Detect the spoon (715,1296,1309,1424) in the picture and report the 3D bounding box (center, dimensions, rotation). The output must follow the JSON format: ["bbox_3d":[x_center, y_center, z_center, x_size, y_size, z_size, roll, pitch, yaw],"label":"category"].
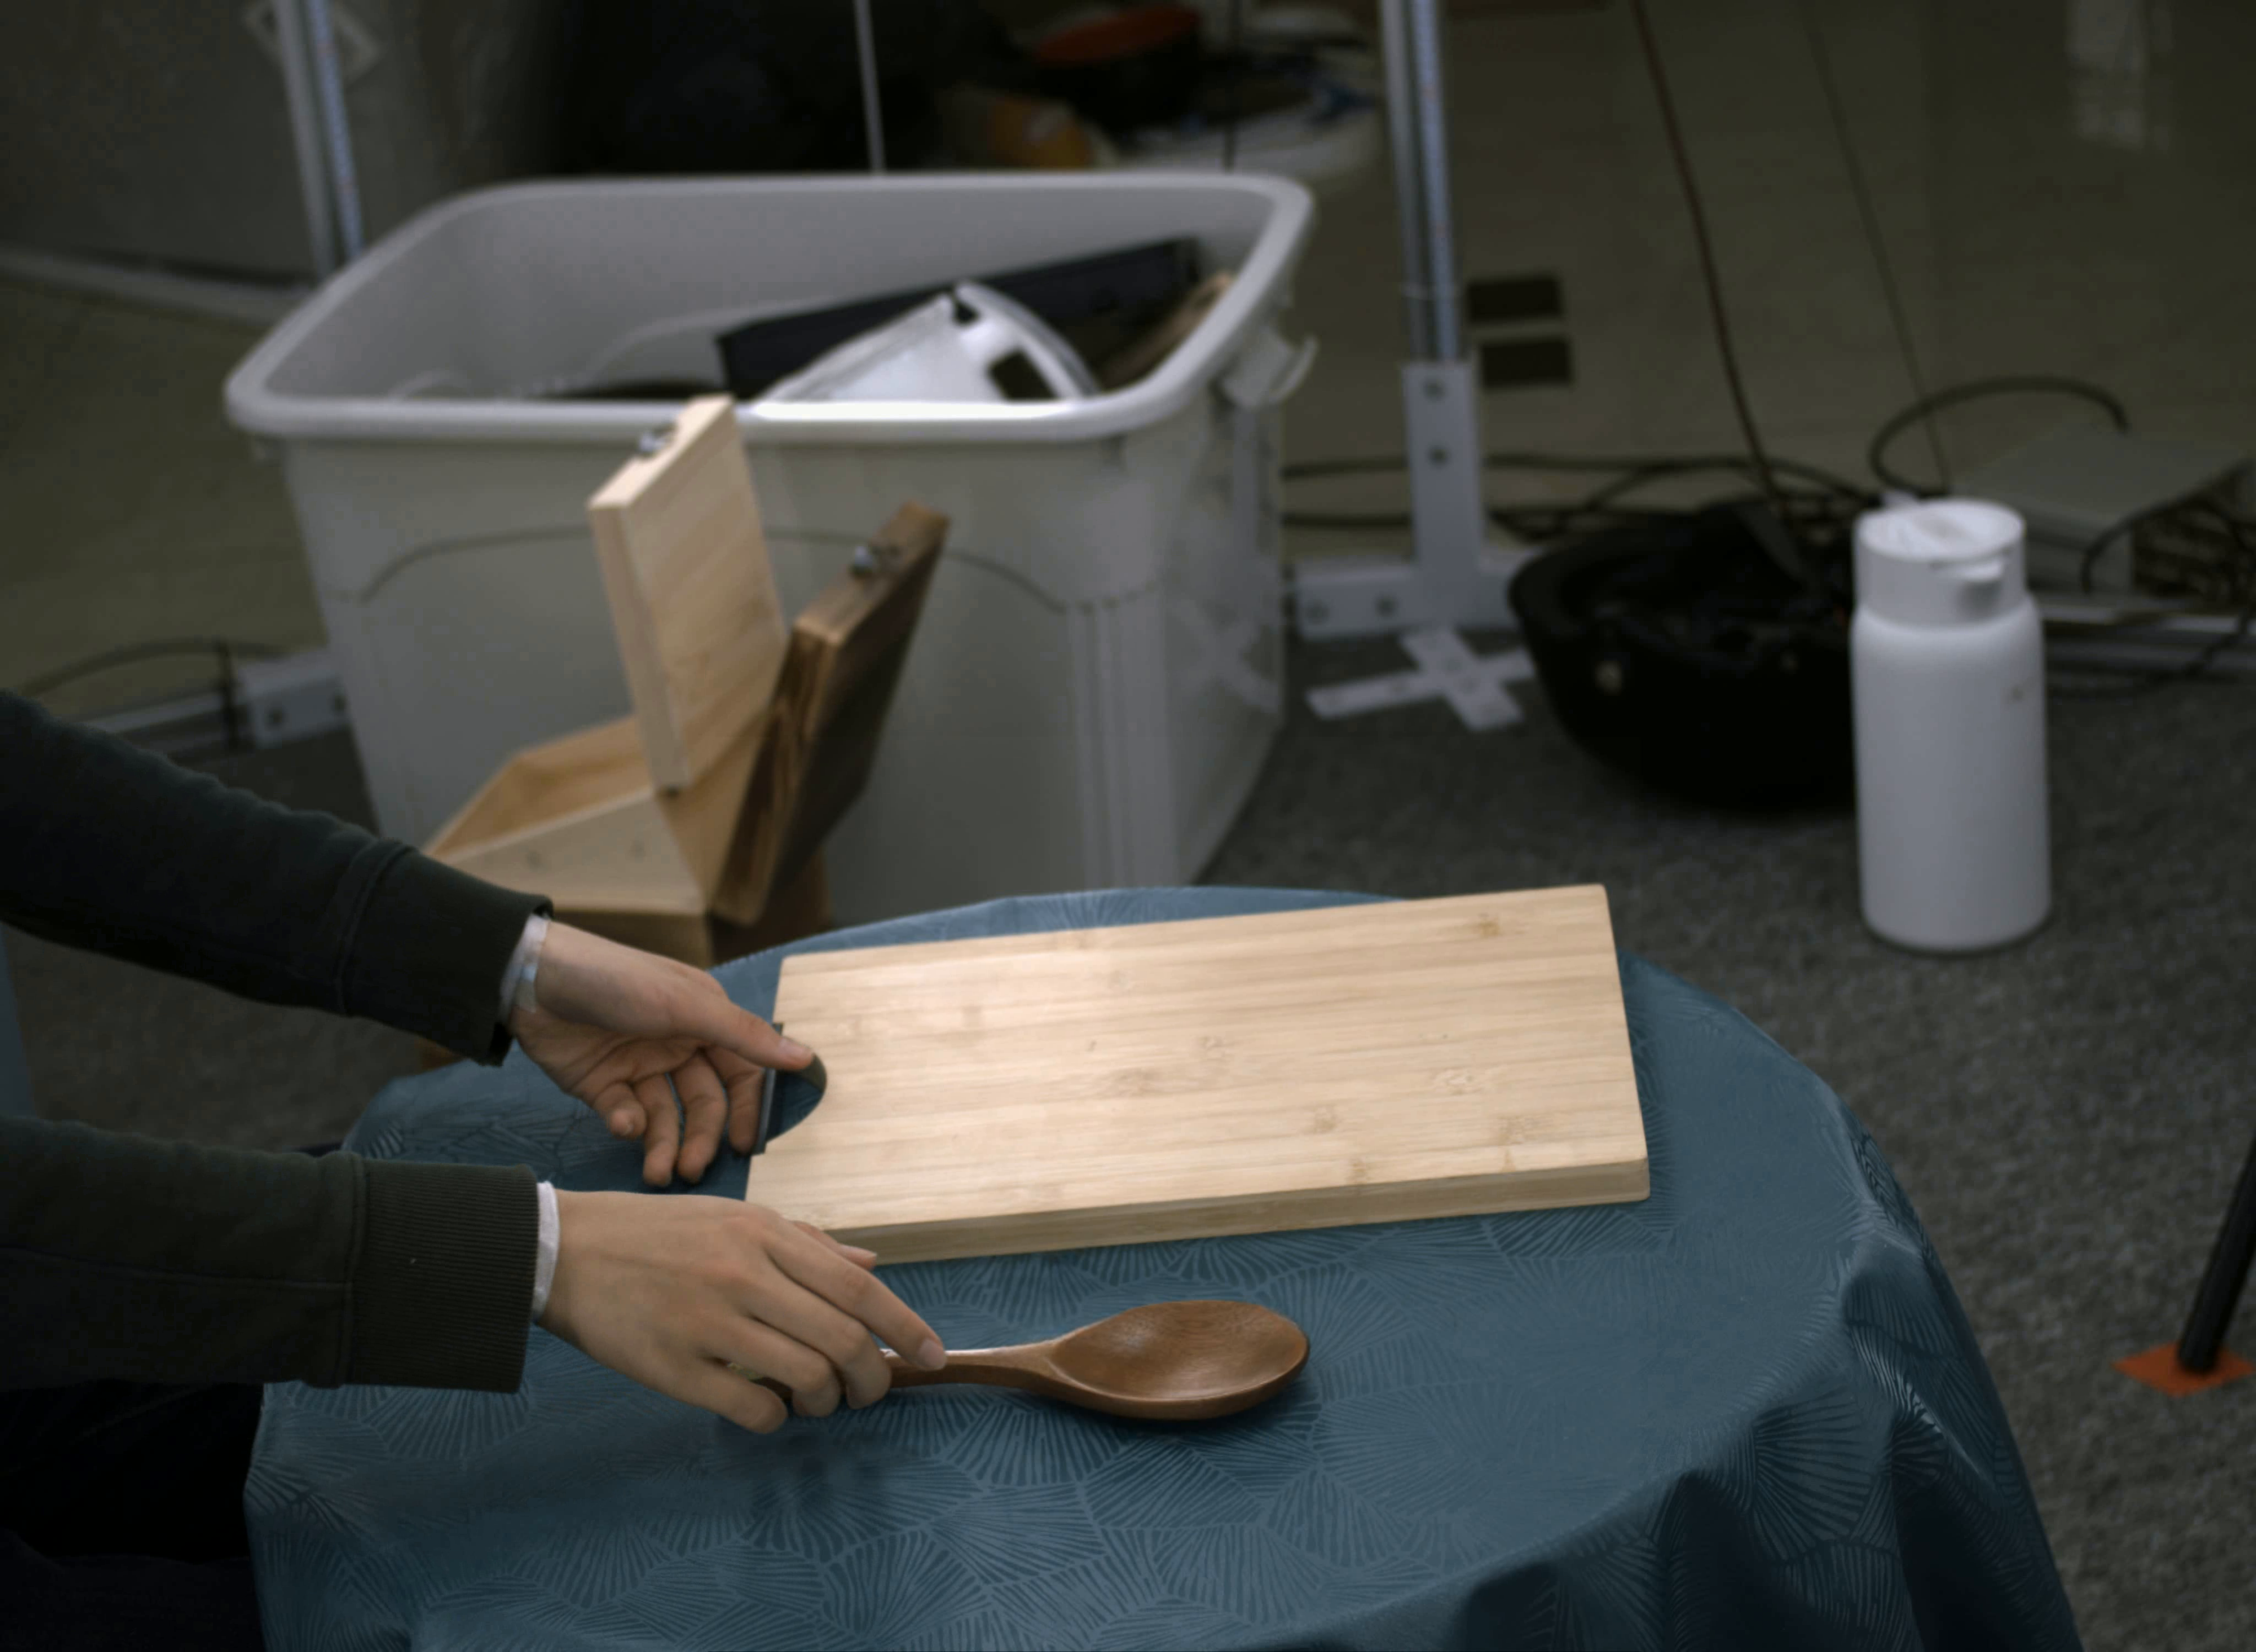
[{"bbox_3d":[-0.042,0.193,2.026,0.215,0.017,0.074,-1,27,10],"label":"spoon"}]

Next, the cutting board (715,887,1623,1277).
[{"bbox_3d":[0.019,0.098,2.218,0.348,0.024,0.247,-5,24,2],"label":"cutting board"}]
